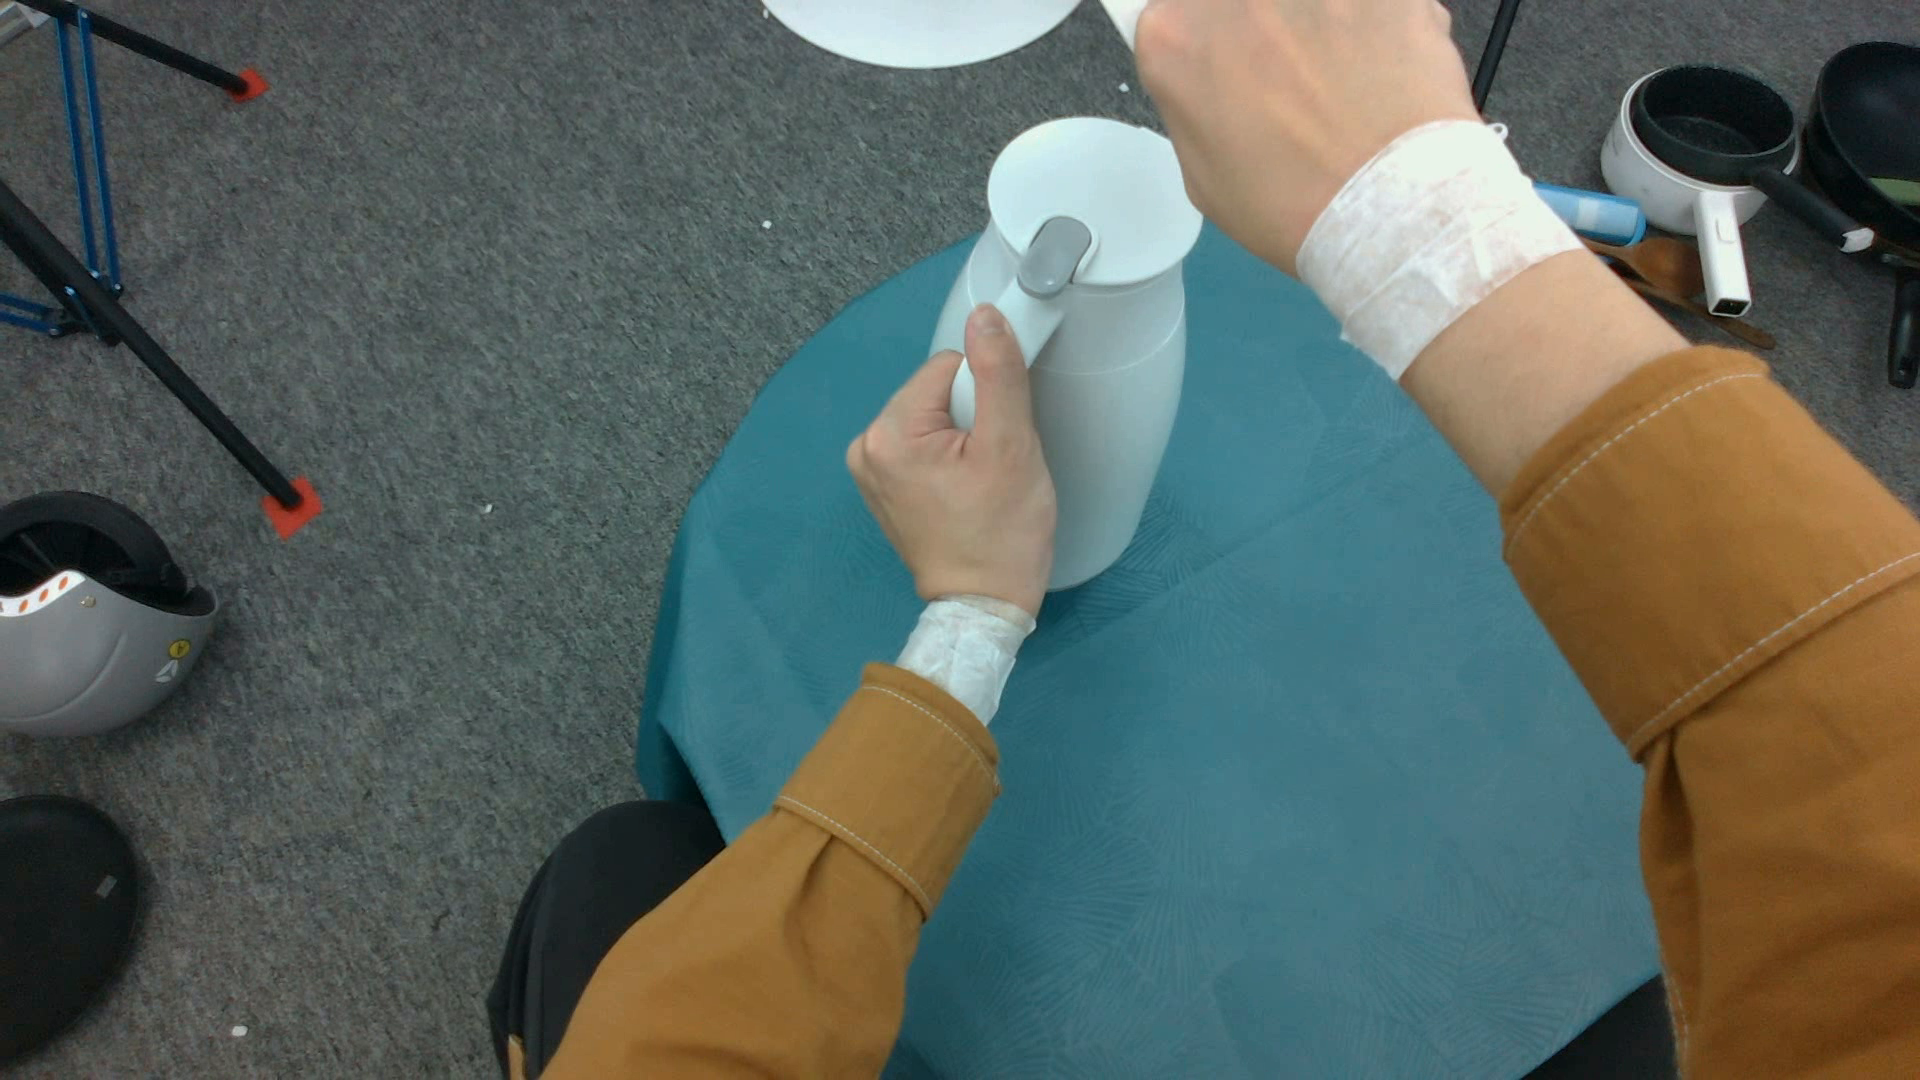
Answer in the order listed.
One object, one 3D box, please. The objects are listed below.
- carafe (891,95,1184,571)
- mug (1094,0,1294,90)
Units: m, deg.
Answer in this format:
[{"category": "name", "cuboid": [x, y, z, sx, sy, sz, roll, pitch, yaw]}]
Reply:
[{"category": "carafe", "cuboid": [0.030, -0.084, 0.669, 0.132, 0.247, 0.168, 30, 63, 9]}, {"category": "mug", "cuboid": [0.092, -0.214, 0.470, 0.101, 0.085, 0.119, -31, 33, 22]}]
